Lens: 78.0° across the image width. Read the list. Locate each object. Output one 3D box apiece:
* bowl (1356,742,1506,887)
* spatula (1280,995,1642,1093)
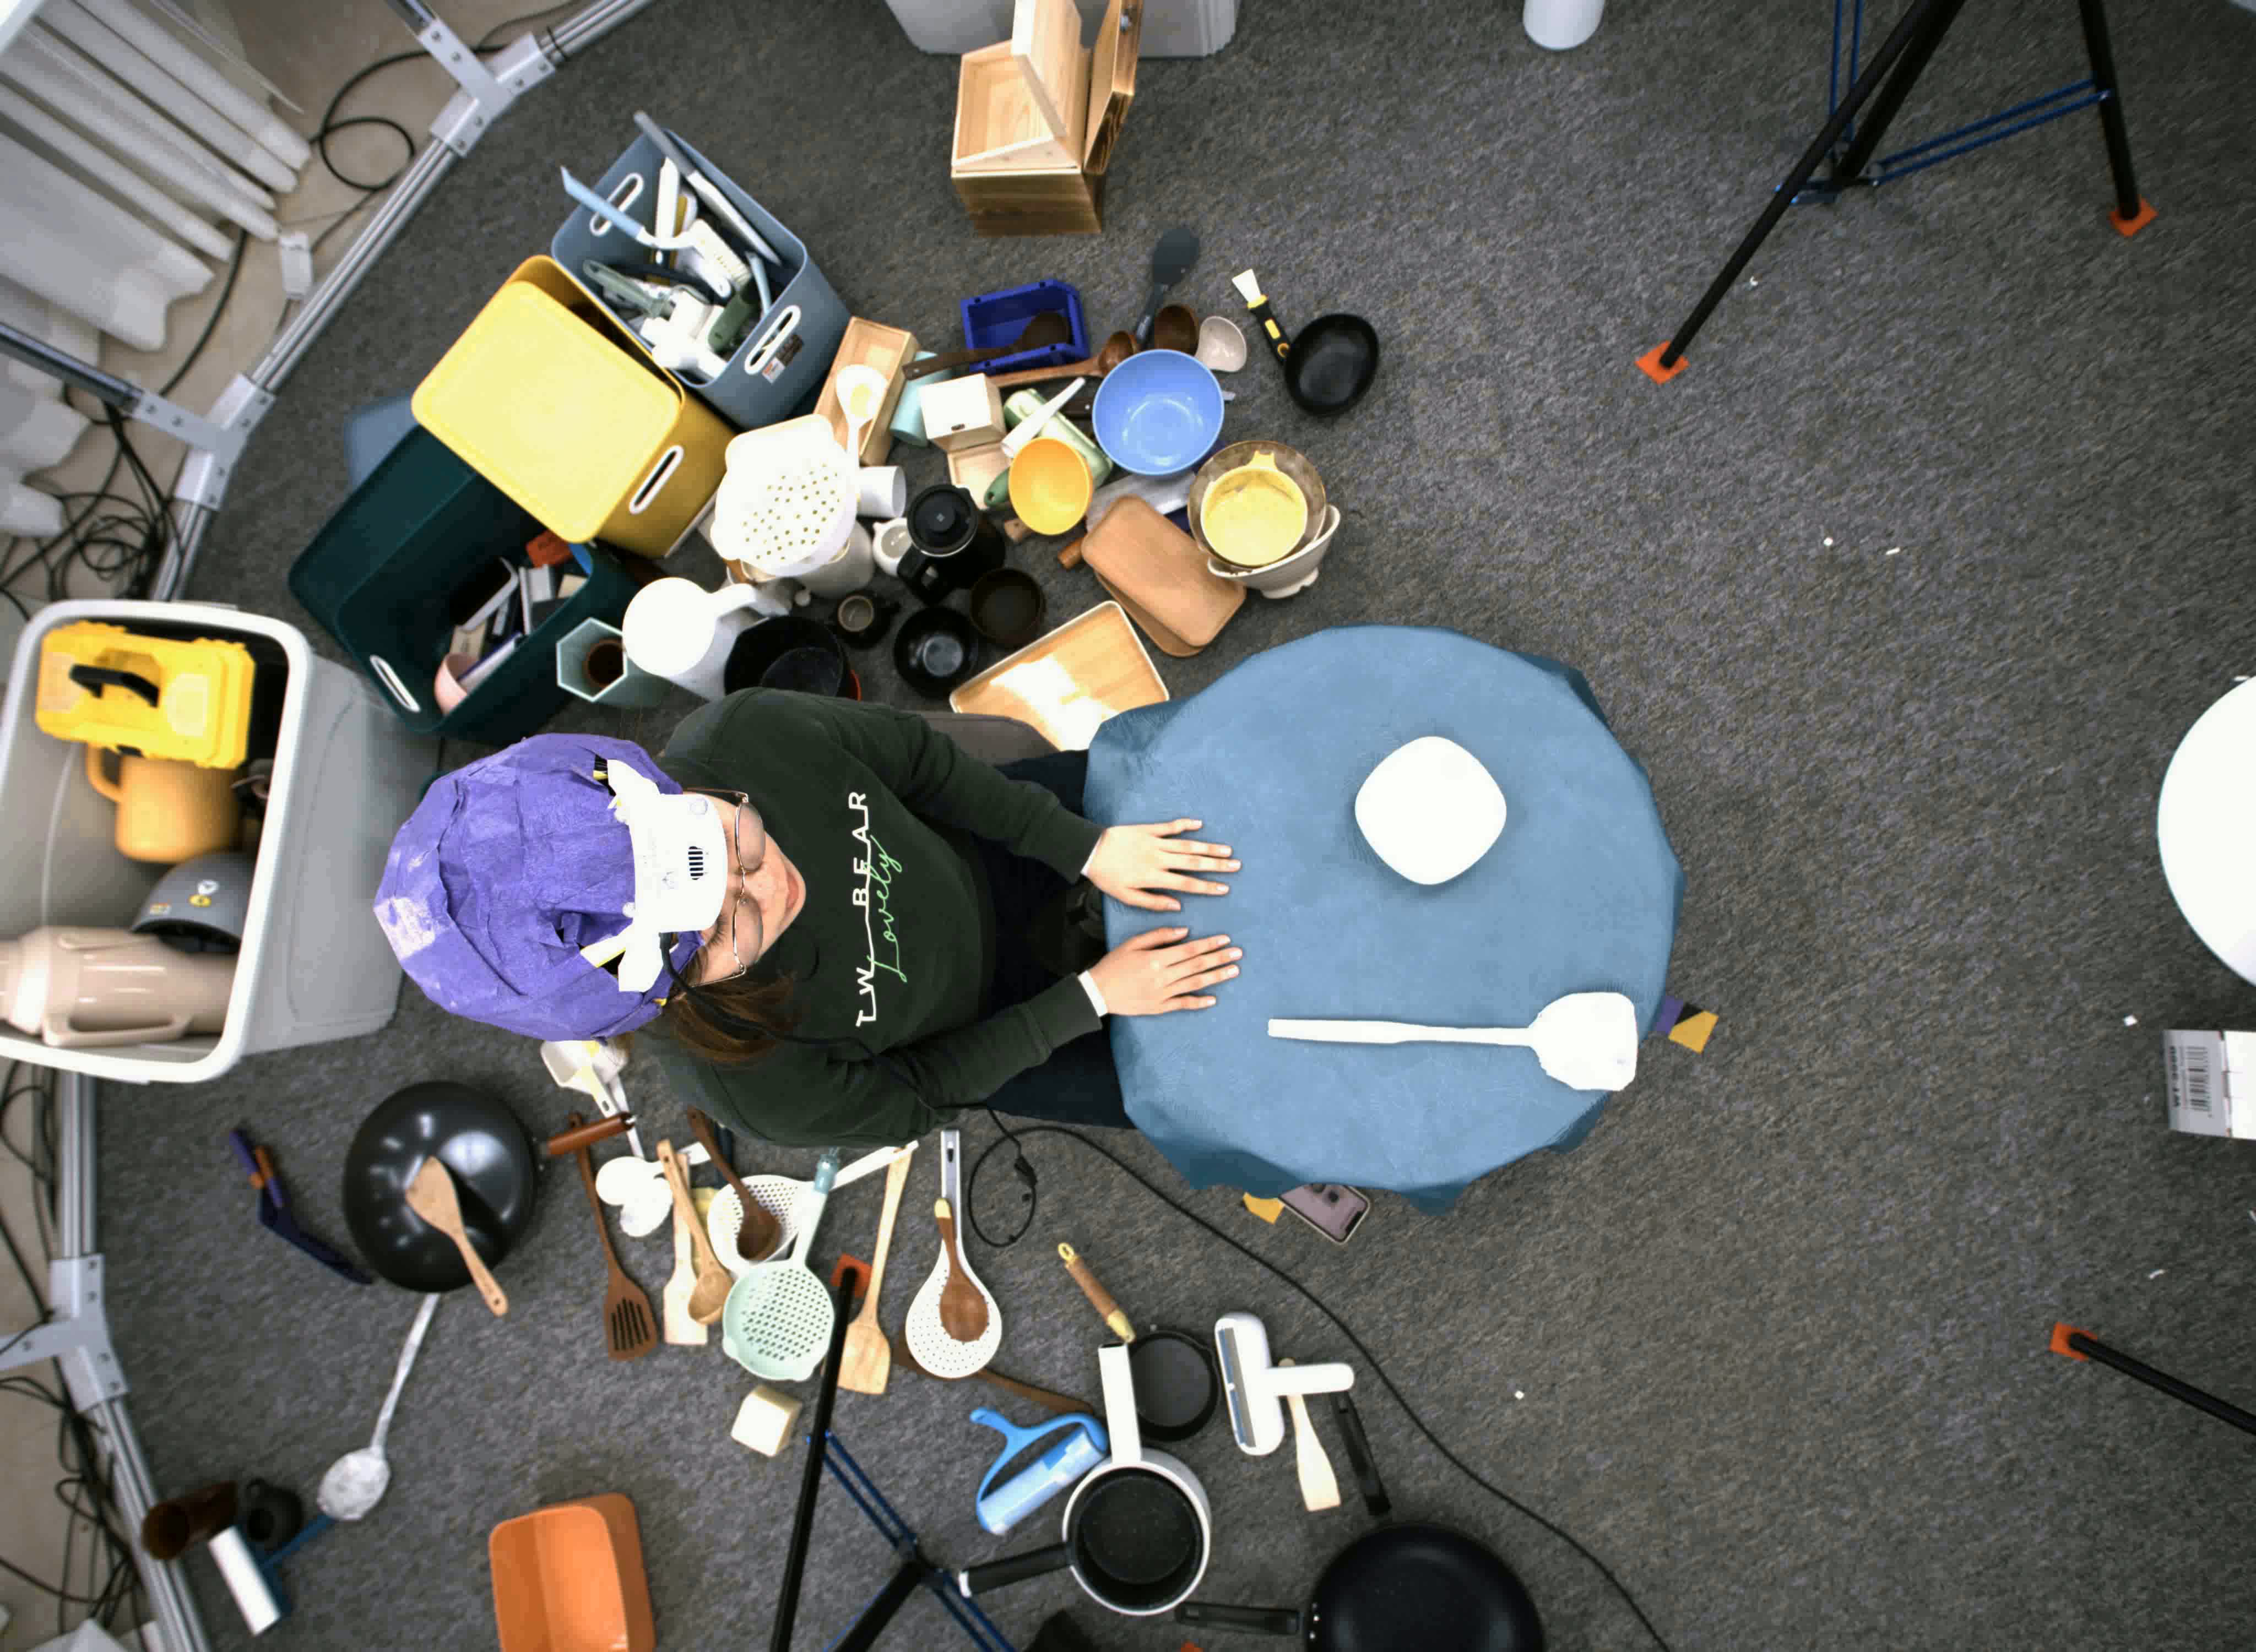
[{"bbox_3d":[0.314,-0.010,1.436,0.152,0.059,0.150,-1,84,9],"label":"bowl"},{"bbox_3d":[0.337,0.212,1.423,0.366,0.045,0.098,2,88,10],"label":"spatula"}]
